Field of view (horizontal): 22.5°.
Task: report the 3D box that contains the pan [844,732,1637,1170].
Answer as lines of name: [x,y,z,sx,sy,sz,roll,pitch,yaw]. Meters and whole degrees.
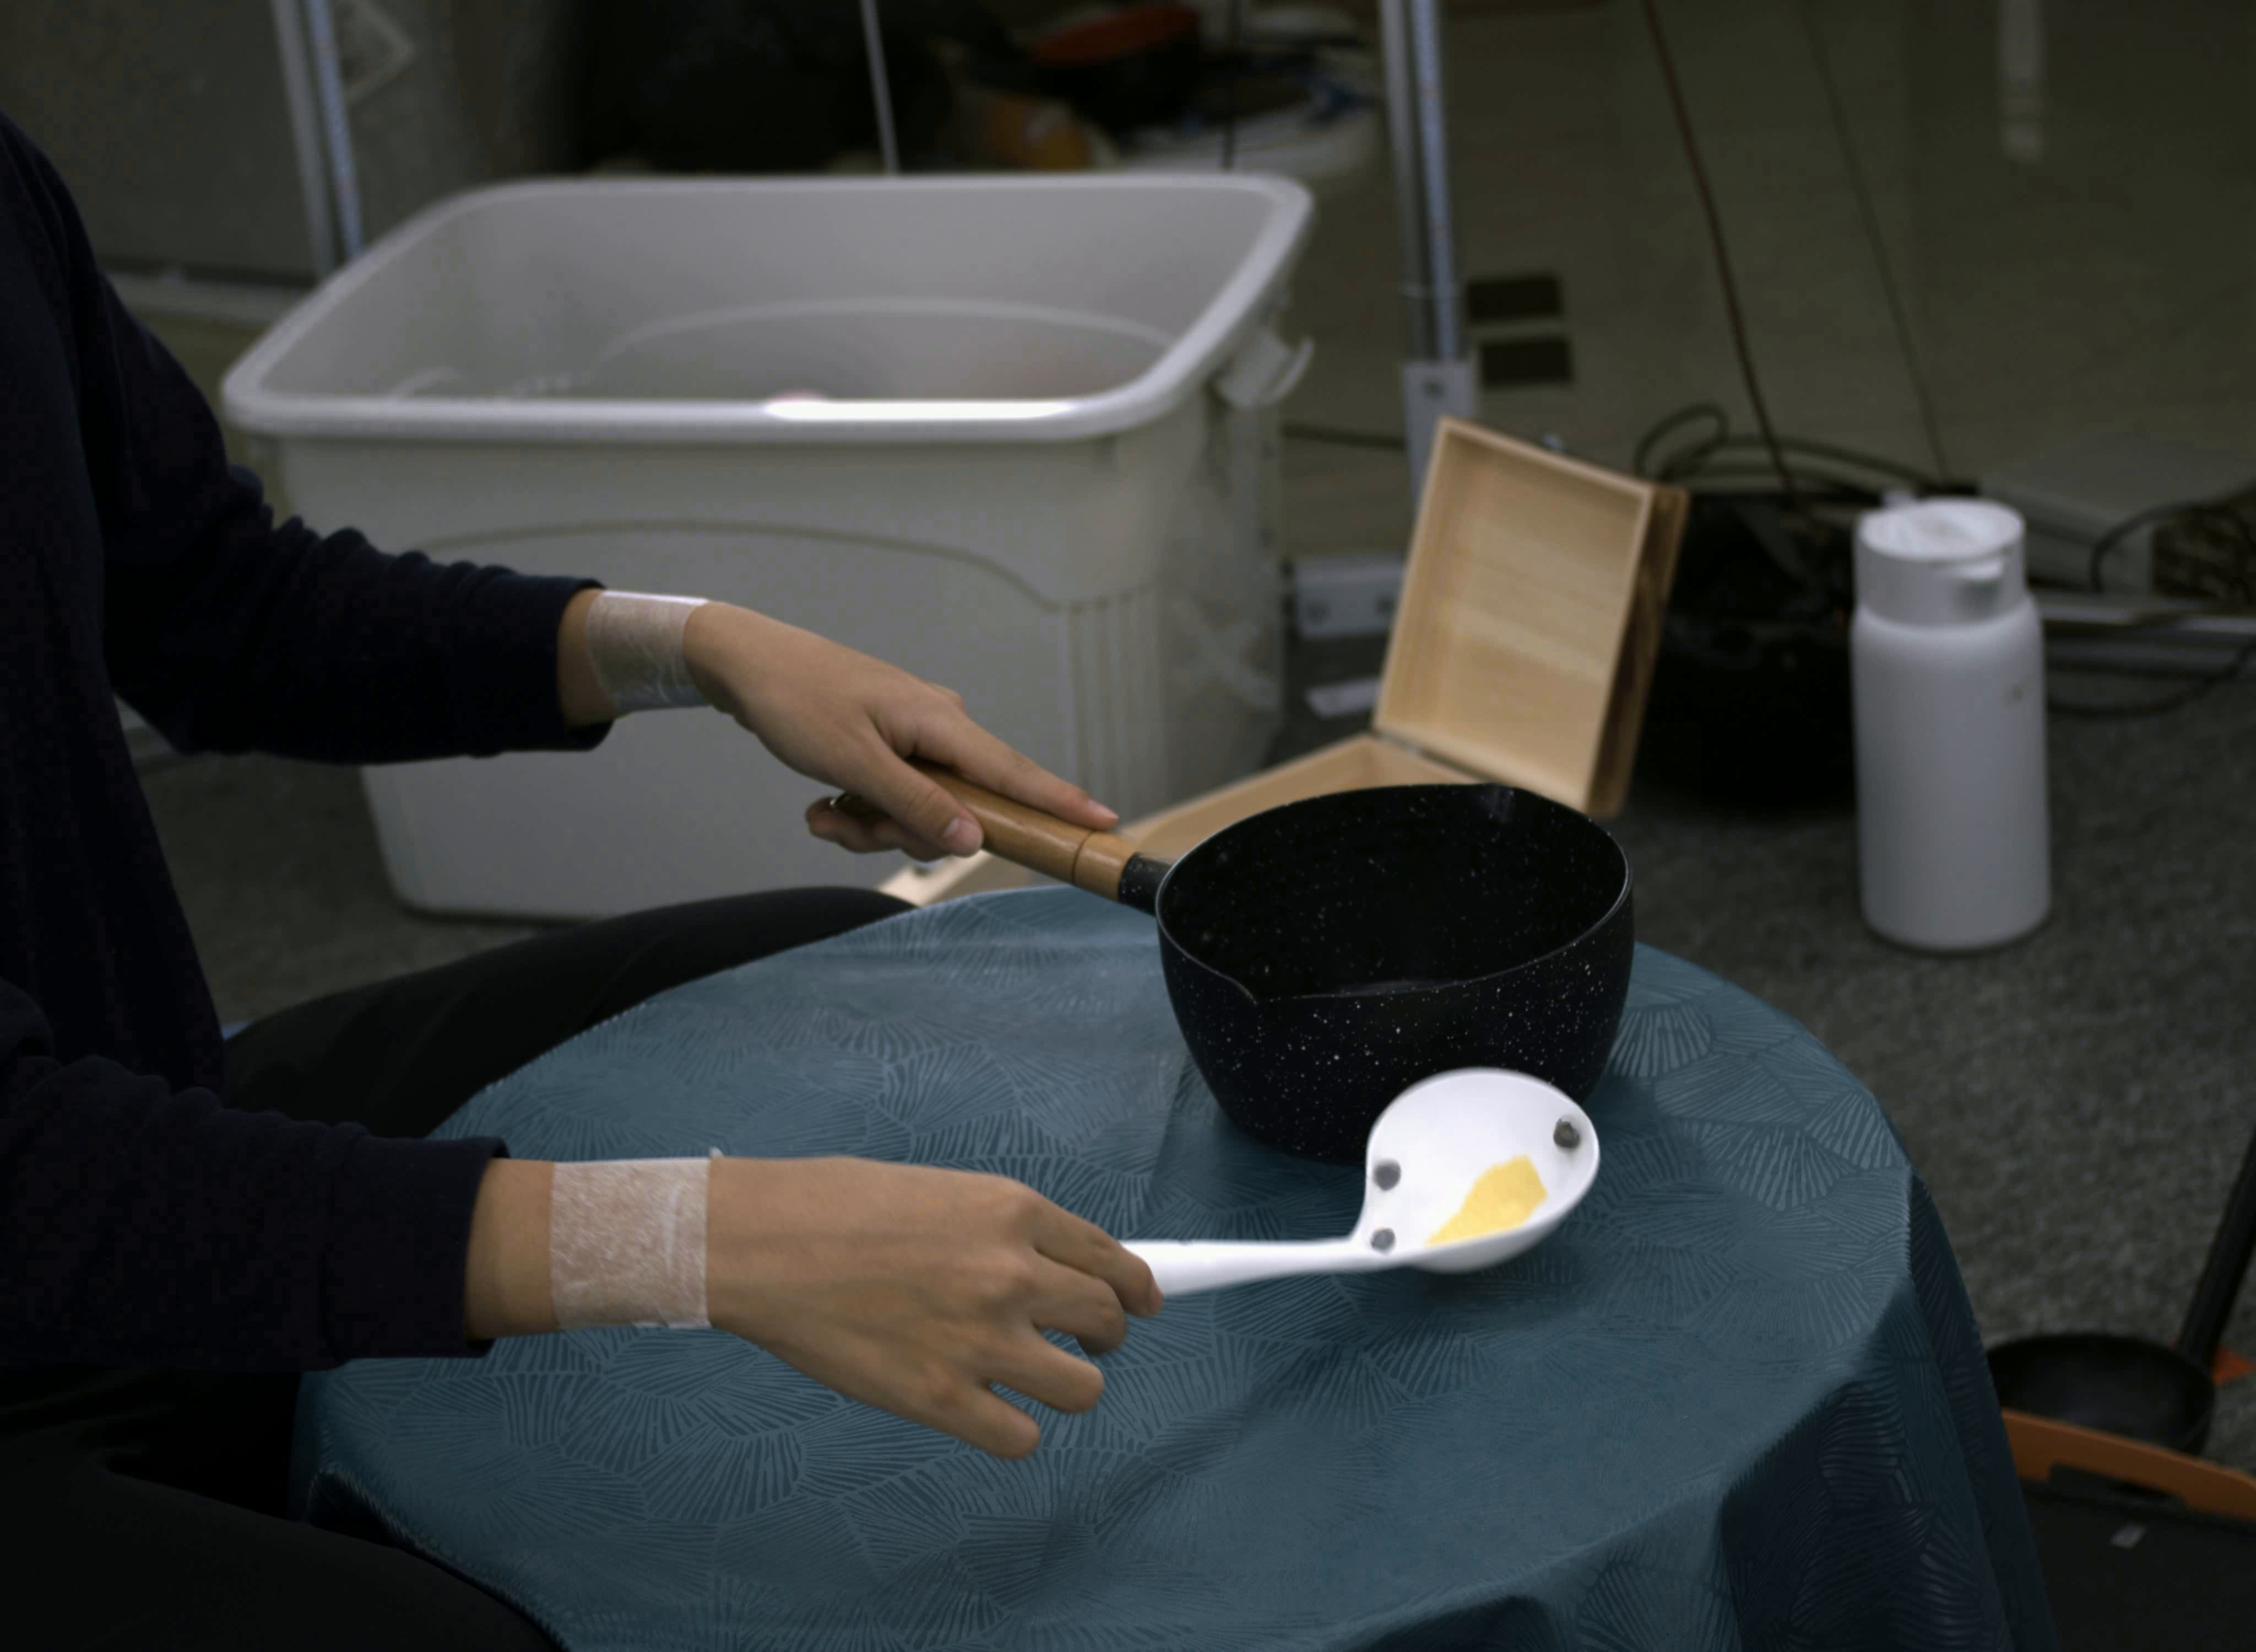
pan: [0.036,0.039,2.222,0.341,0.110,0.205,10,31,28]

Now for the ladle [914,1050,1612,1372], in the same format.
ladle: [0.048,0.135,1.975,0.292,0.071,0.089,-7,31,-43]
